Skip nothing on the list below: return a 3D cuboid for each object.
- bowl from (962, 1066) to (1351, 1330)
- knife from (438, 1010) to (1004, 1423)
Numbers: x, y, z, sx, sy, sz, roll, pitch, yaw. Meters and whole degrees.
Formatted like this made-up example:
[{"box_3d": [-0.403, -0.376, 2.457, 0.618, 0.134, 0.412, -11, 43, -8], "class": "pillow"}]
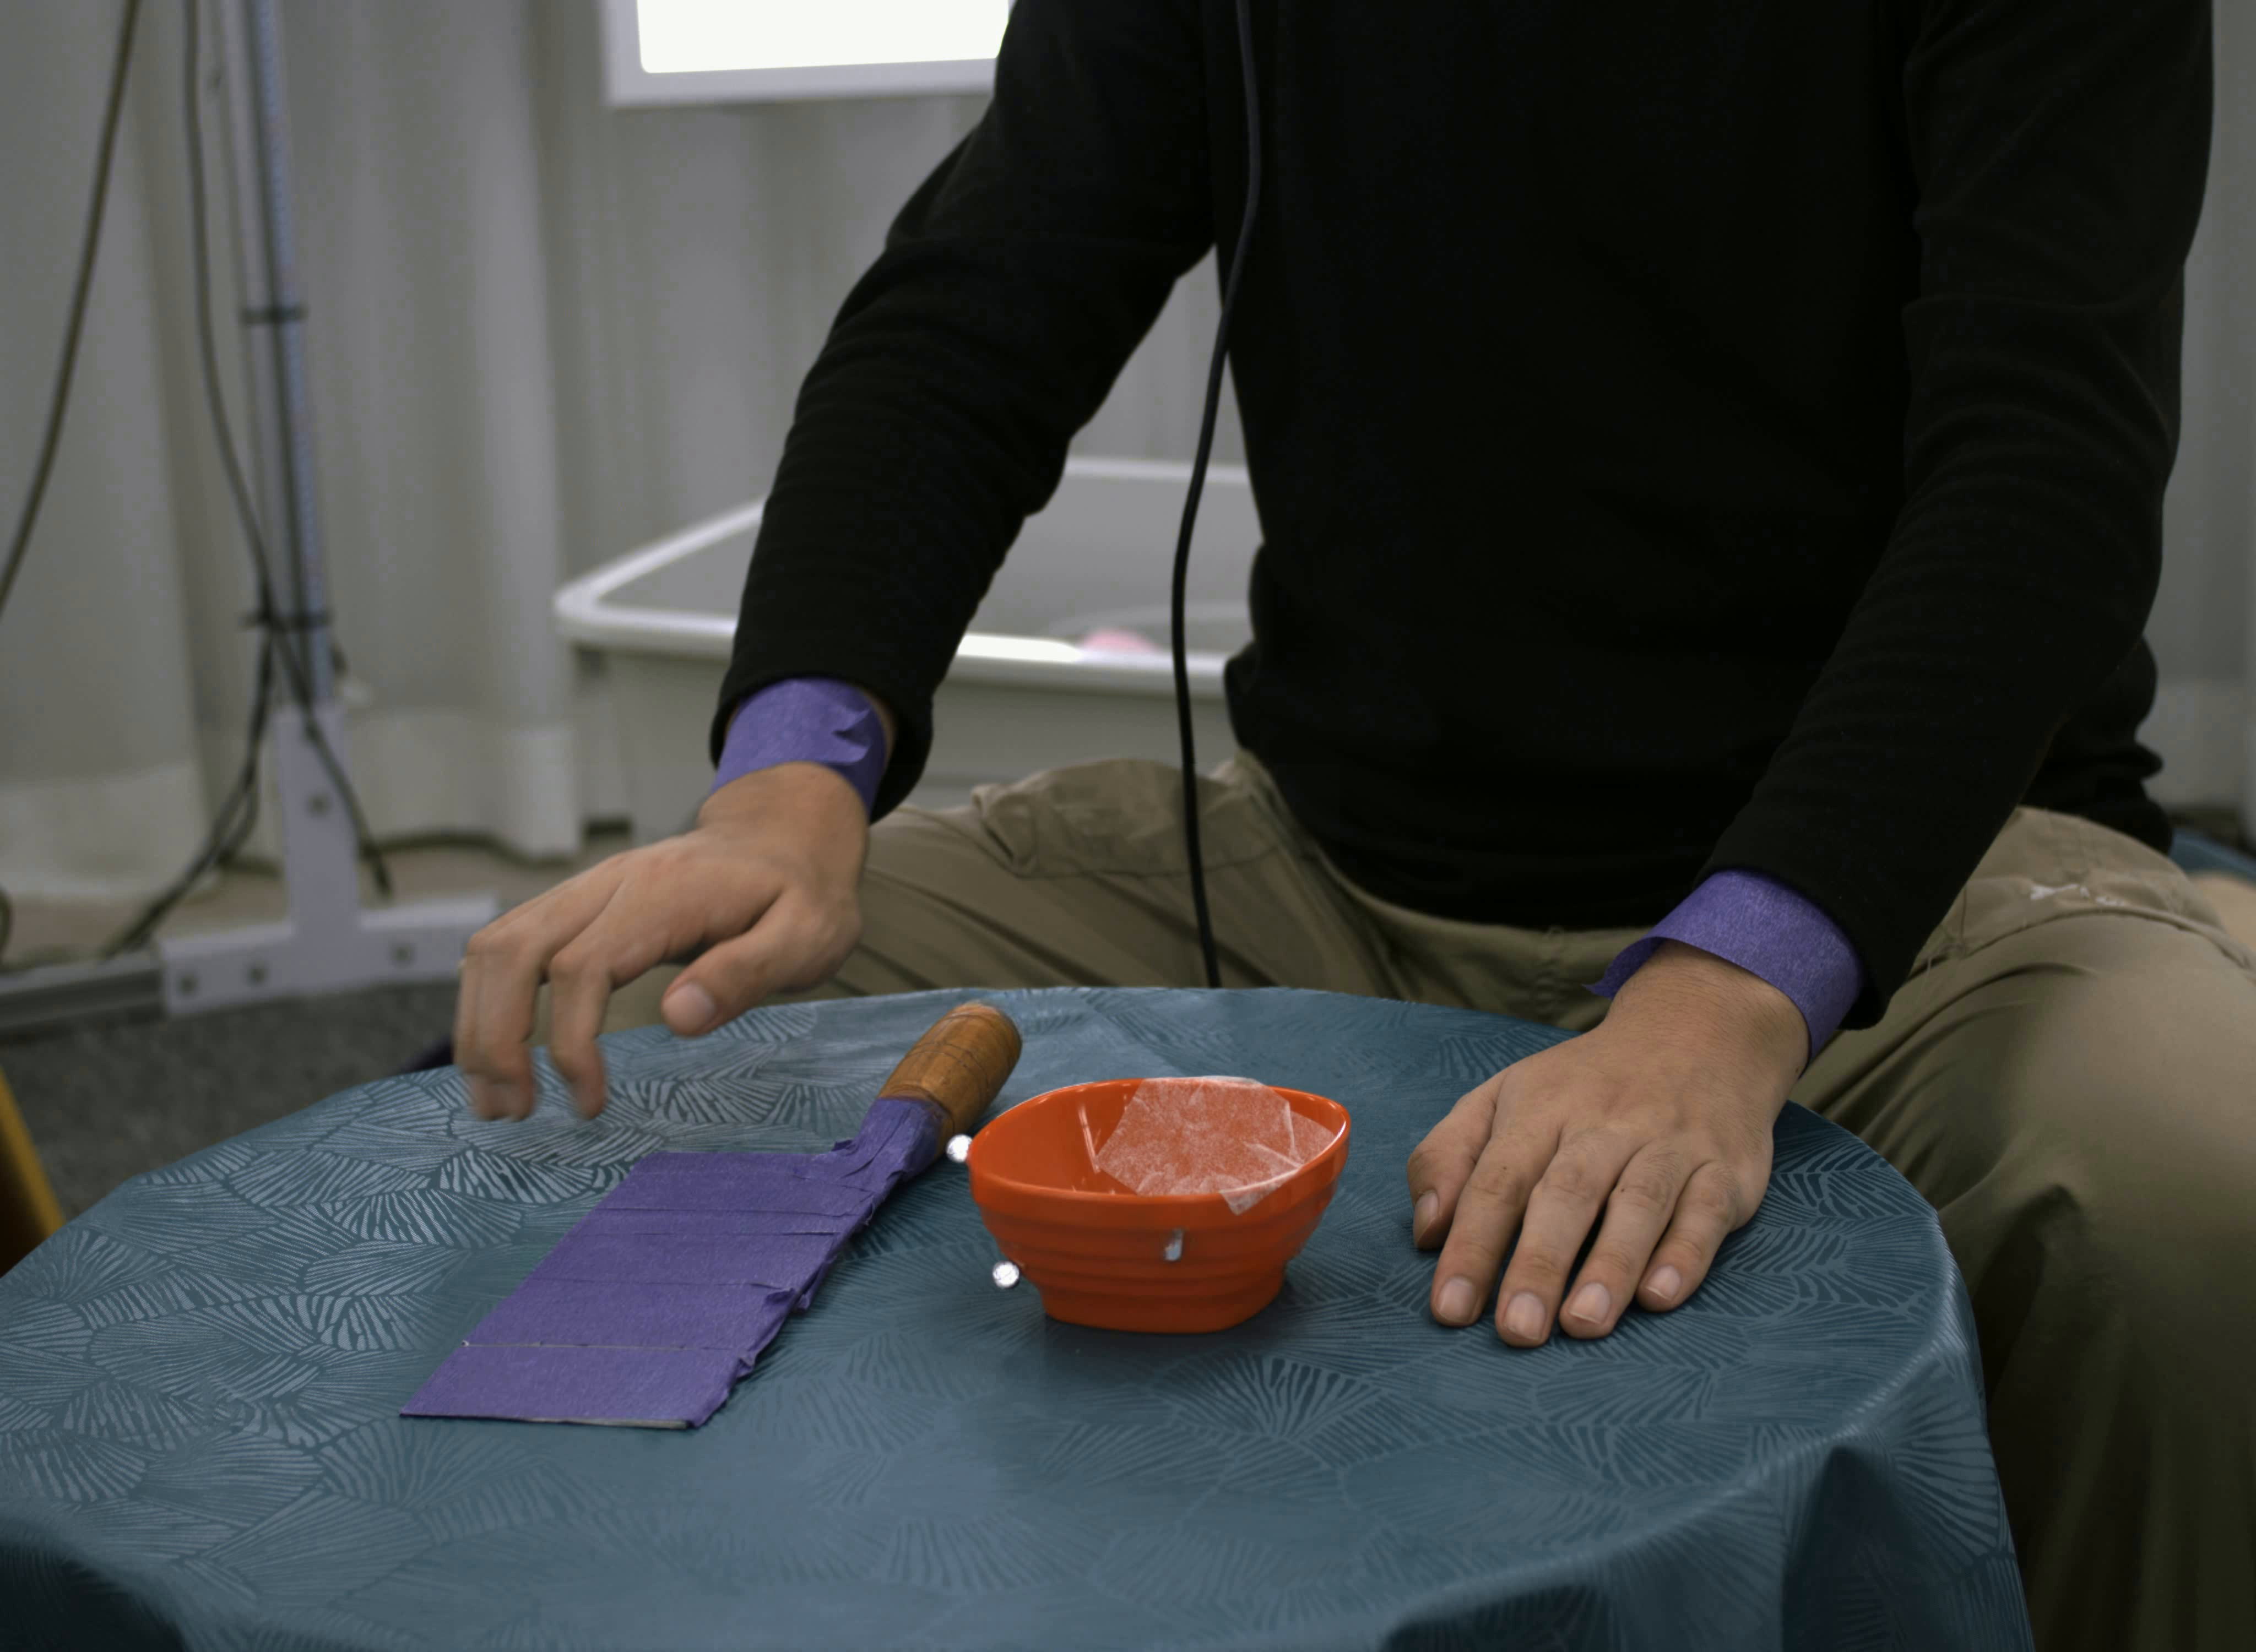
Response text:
[{"box_3d": [0.010, 0.112, 1.613, 0.118, 0.051, 0.120, -3, 16, 1], "class": "bowl"}, {"box_3d": [-0.122, 0.117, 1.680, 0.104, 0.032, 0.316, 2, 16, 15], "class": "knife"}]
